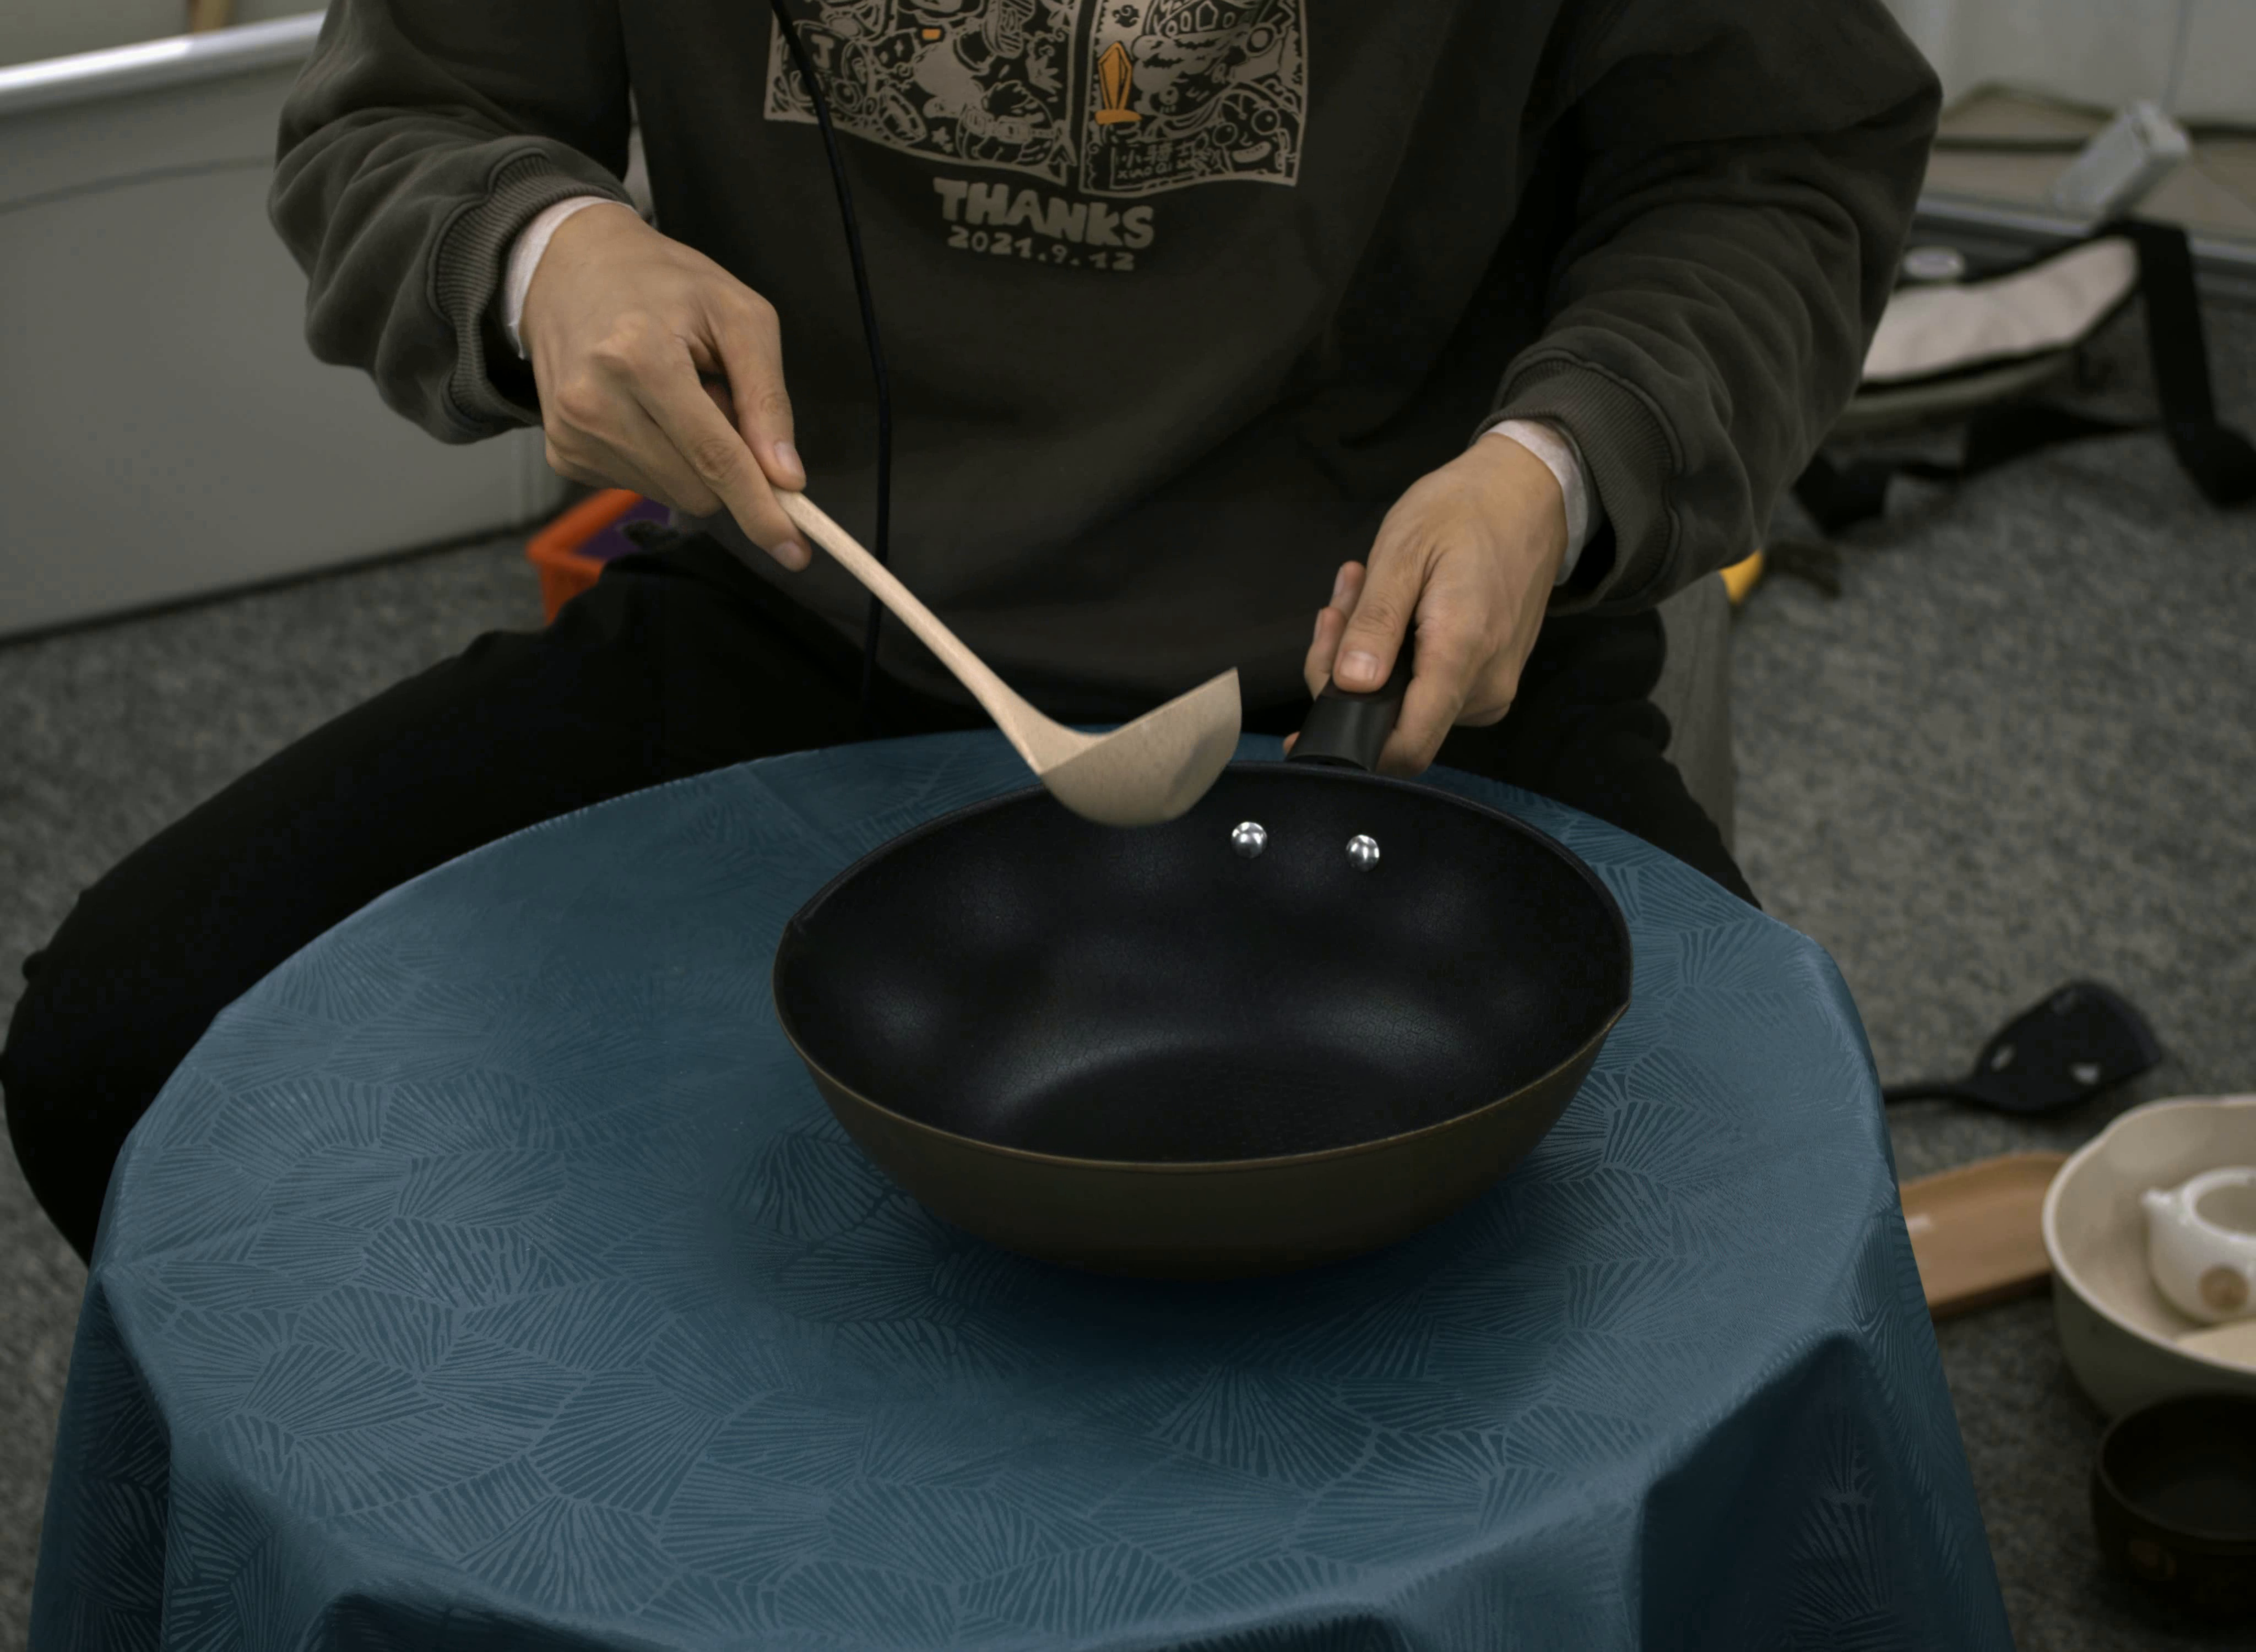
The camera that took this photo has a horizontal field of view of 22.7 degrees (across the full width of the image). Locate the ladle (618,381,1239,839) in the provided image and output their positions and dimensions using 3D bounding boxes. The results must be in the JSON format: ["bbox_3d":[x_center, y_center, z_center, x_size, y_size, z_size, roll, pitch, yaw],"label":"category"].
[{"bbox_3d":[-0.068,-0.093,1.890,0.255,0.071,0.073,42,39,14],"label":"ladle"}]

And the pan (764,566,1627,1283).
[{"bbox_3d":[0.050,0.035,1.934,0.286,0.086,0.471,6,27,16],"label":"pan"}]
